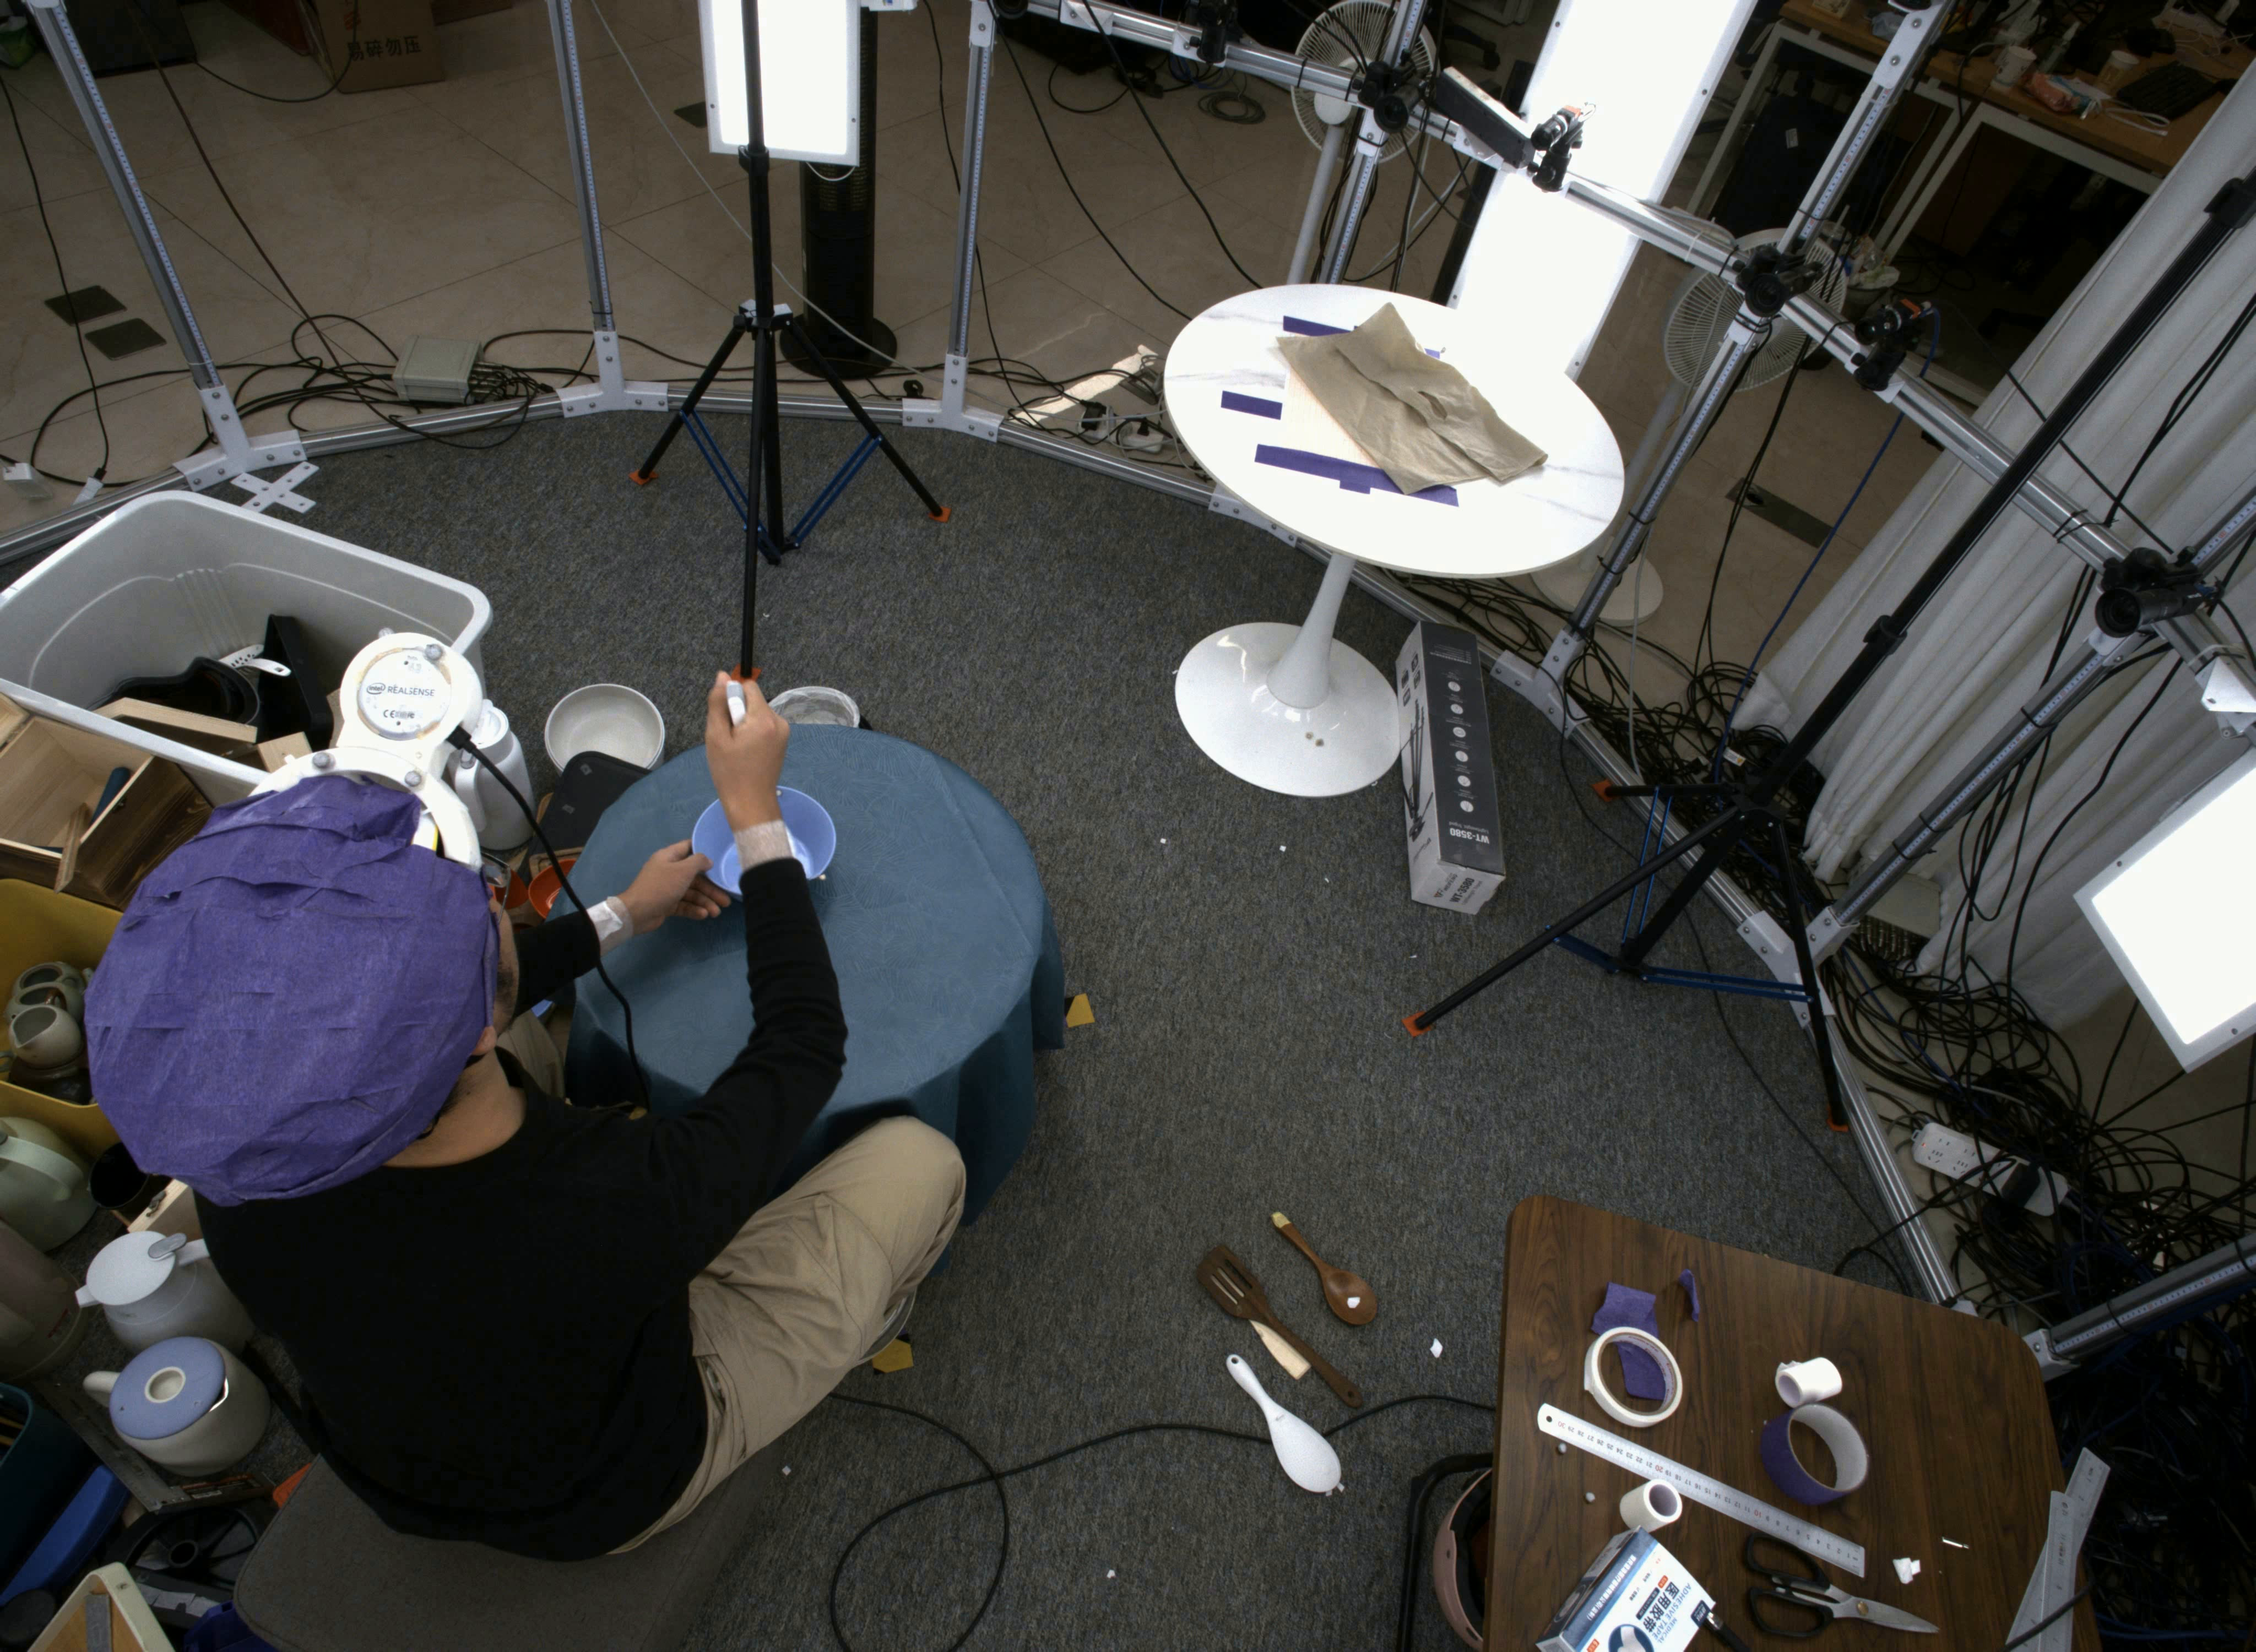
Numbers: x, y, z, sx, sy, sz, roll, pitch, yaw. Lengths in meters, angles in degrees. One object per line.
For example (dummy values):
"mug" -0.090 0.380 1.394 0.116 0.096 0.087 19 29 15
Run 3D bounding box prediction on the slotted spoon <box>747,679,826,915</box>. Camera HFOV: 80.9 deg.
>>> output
"slotted spoon" -0.367 -0.032 1.373 0.045 0.359 0.133 -7 57 -4

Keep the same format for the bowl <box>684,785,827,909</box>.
"bowl" -0.468 0.036 1.635 0.176 0.071 0.173 8 53 -9
